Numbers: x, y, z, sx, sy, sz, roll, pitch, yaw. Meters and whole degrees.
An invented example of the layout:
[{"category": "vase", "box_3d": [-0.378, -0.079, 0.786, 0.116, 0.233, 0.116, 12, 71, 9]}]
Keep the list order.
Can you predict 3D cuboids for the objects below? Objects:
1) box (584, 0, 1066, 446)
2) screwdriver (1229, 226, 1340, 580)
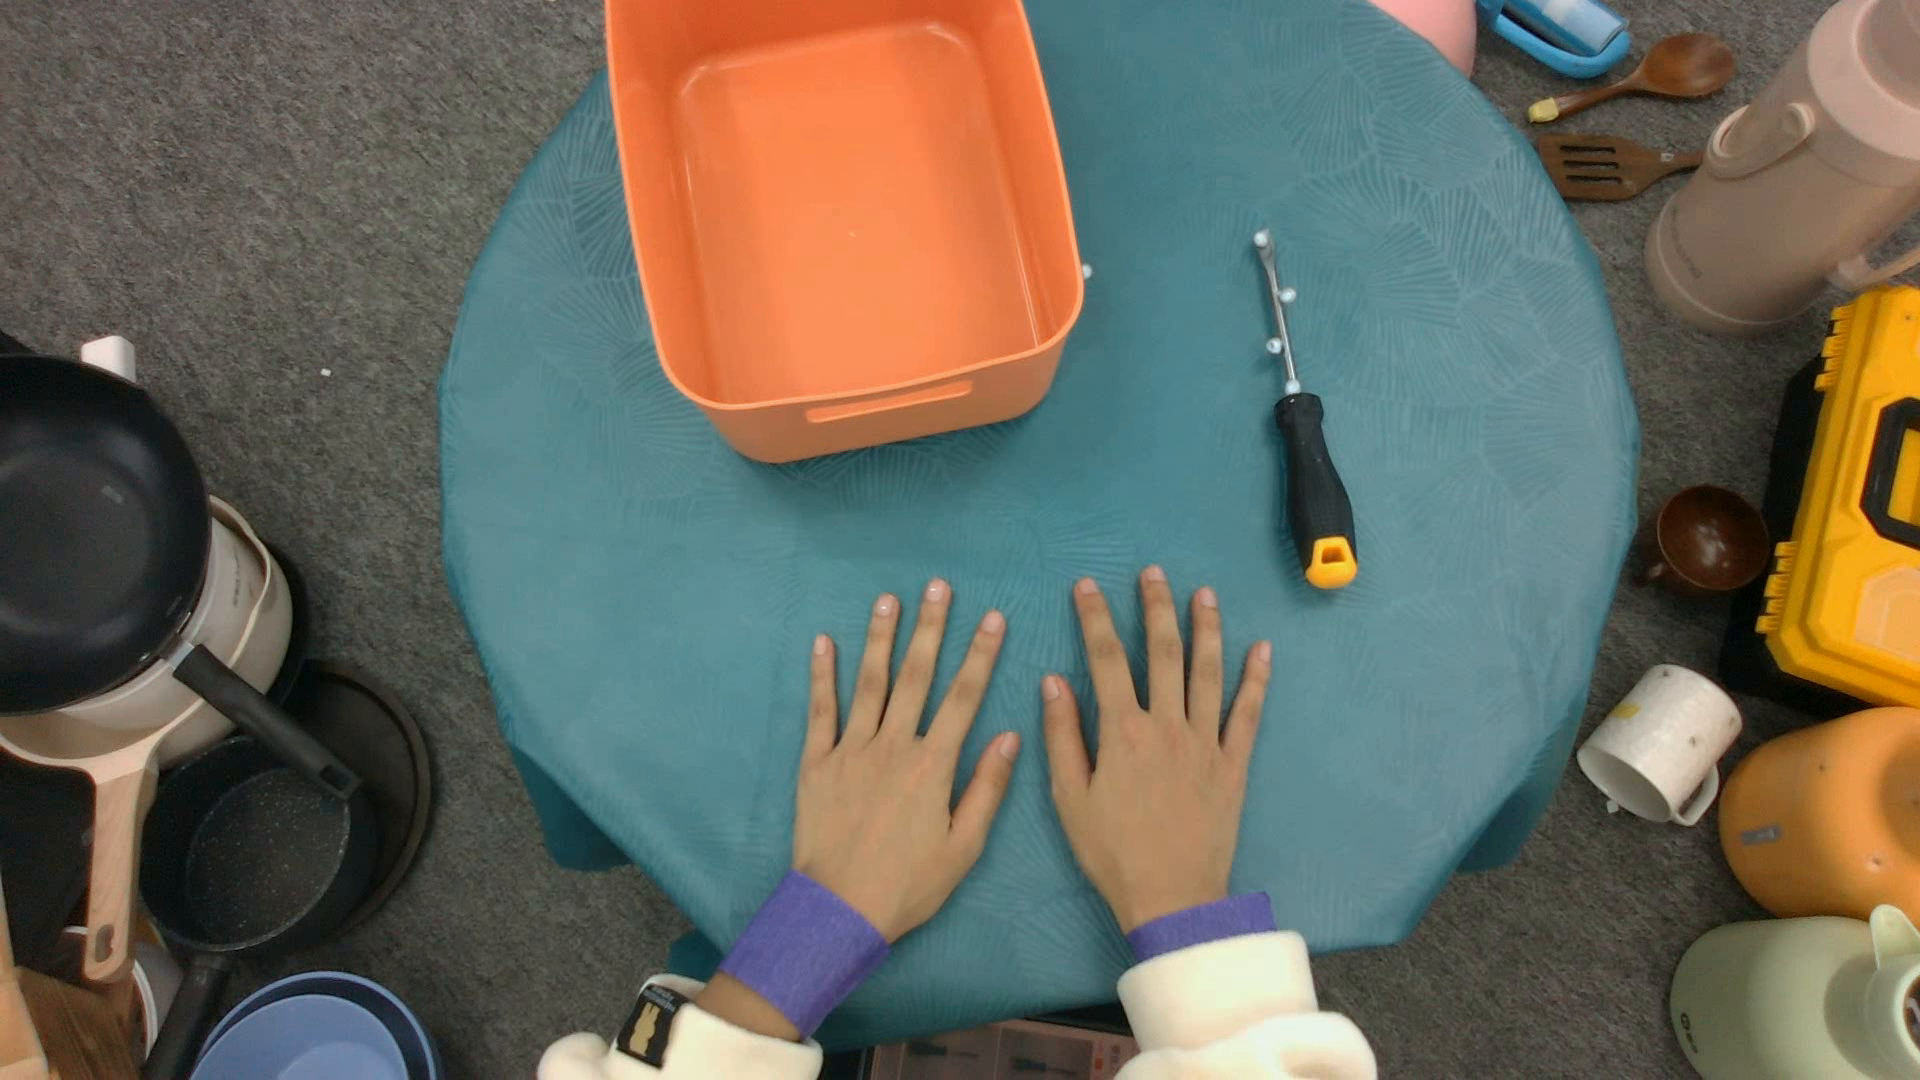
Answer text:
[{"category": "box", "box_3d": [-0.068, -0.184, 0.678, 0.199, 0.102, 0.274, -11, 72, -4]}, {"category": "screwdriver", "box_3d": [0.149, -0.071, 0.670, 0.031, 0.031, 0.198, -9, 63, -2]}]
